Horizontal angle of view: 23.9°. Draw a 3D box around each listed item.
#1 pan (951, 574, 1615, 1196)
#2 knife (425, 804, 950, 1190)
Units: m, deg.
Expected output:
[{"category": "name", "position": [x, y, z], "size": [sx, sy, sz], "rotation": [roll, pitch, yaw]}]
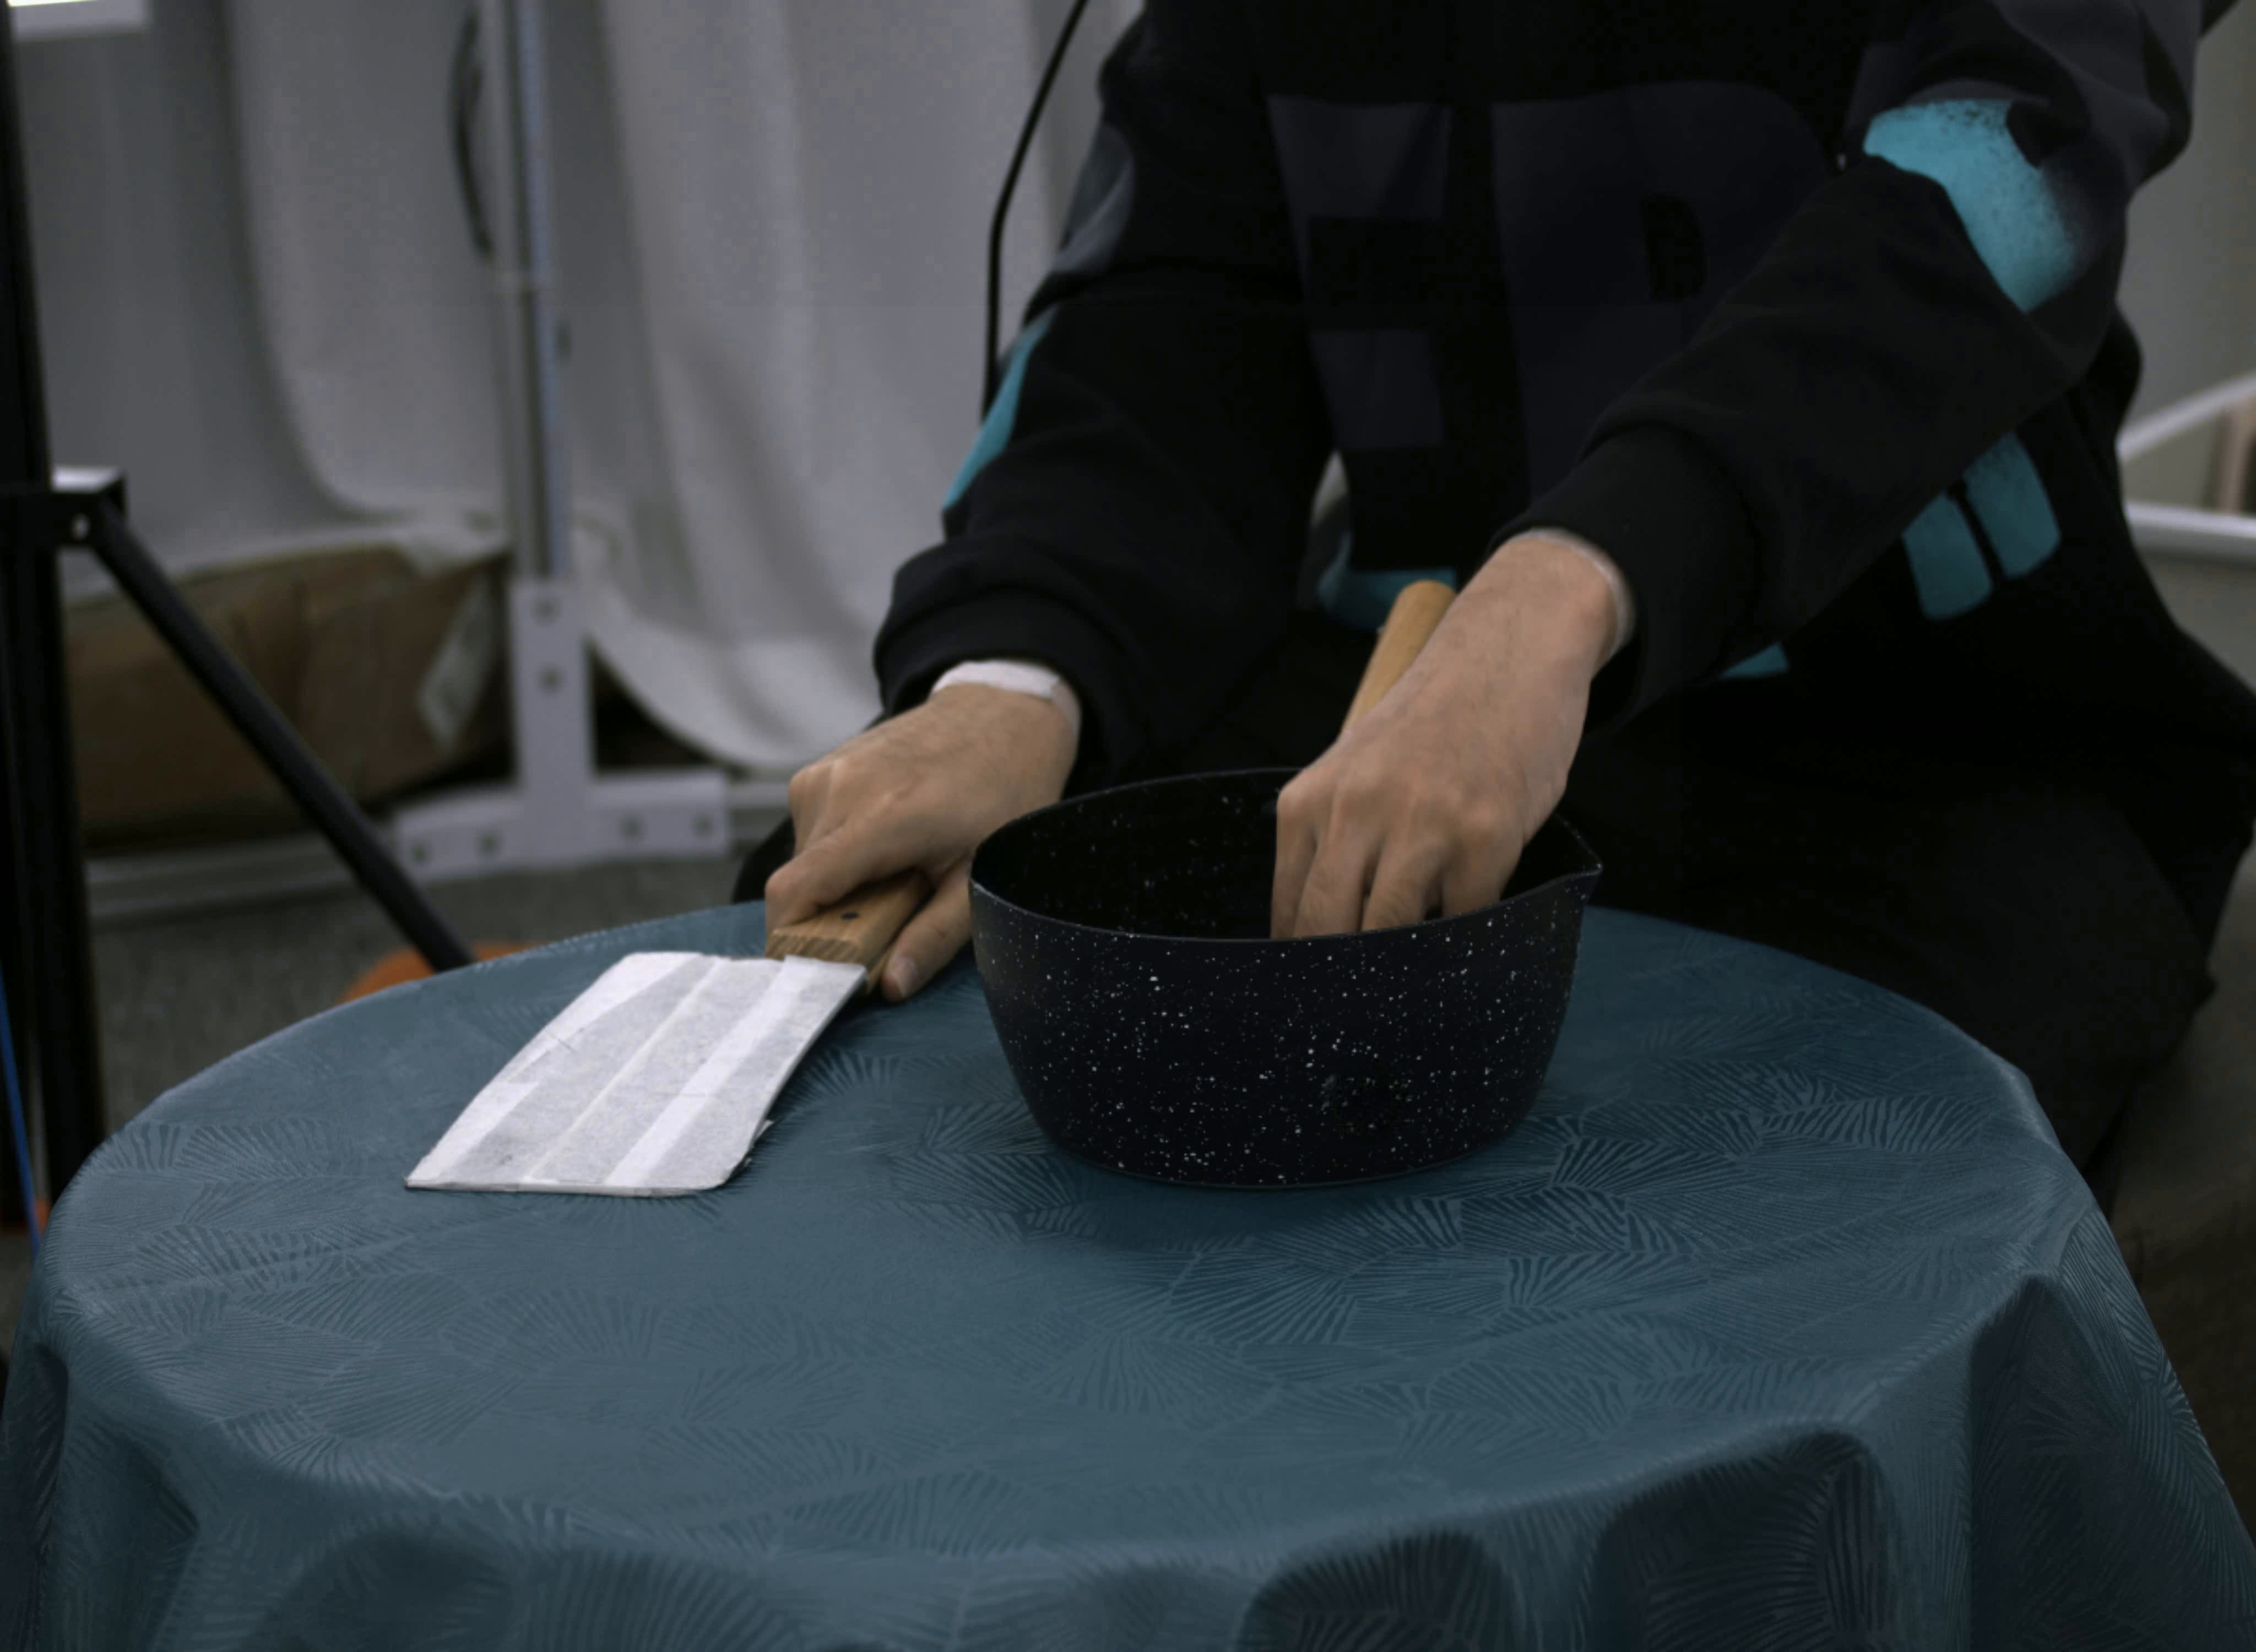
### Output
[{"category": "pan", "position": [0.062, 0.014, 1.679], "size": [0.209, 0.108, 0.341], "rotation": [0, 17, 13]}, {"category": "knife", "position": [-0.123, 0.055, 1.714], "size": [0.115, 0.021, 0.312], "rotation": [3, 21, 20]}]
